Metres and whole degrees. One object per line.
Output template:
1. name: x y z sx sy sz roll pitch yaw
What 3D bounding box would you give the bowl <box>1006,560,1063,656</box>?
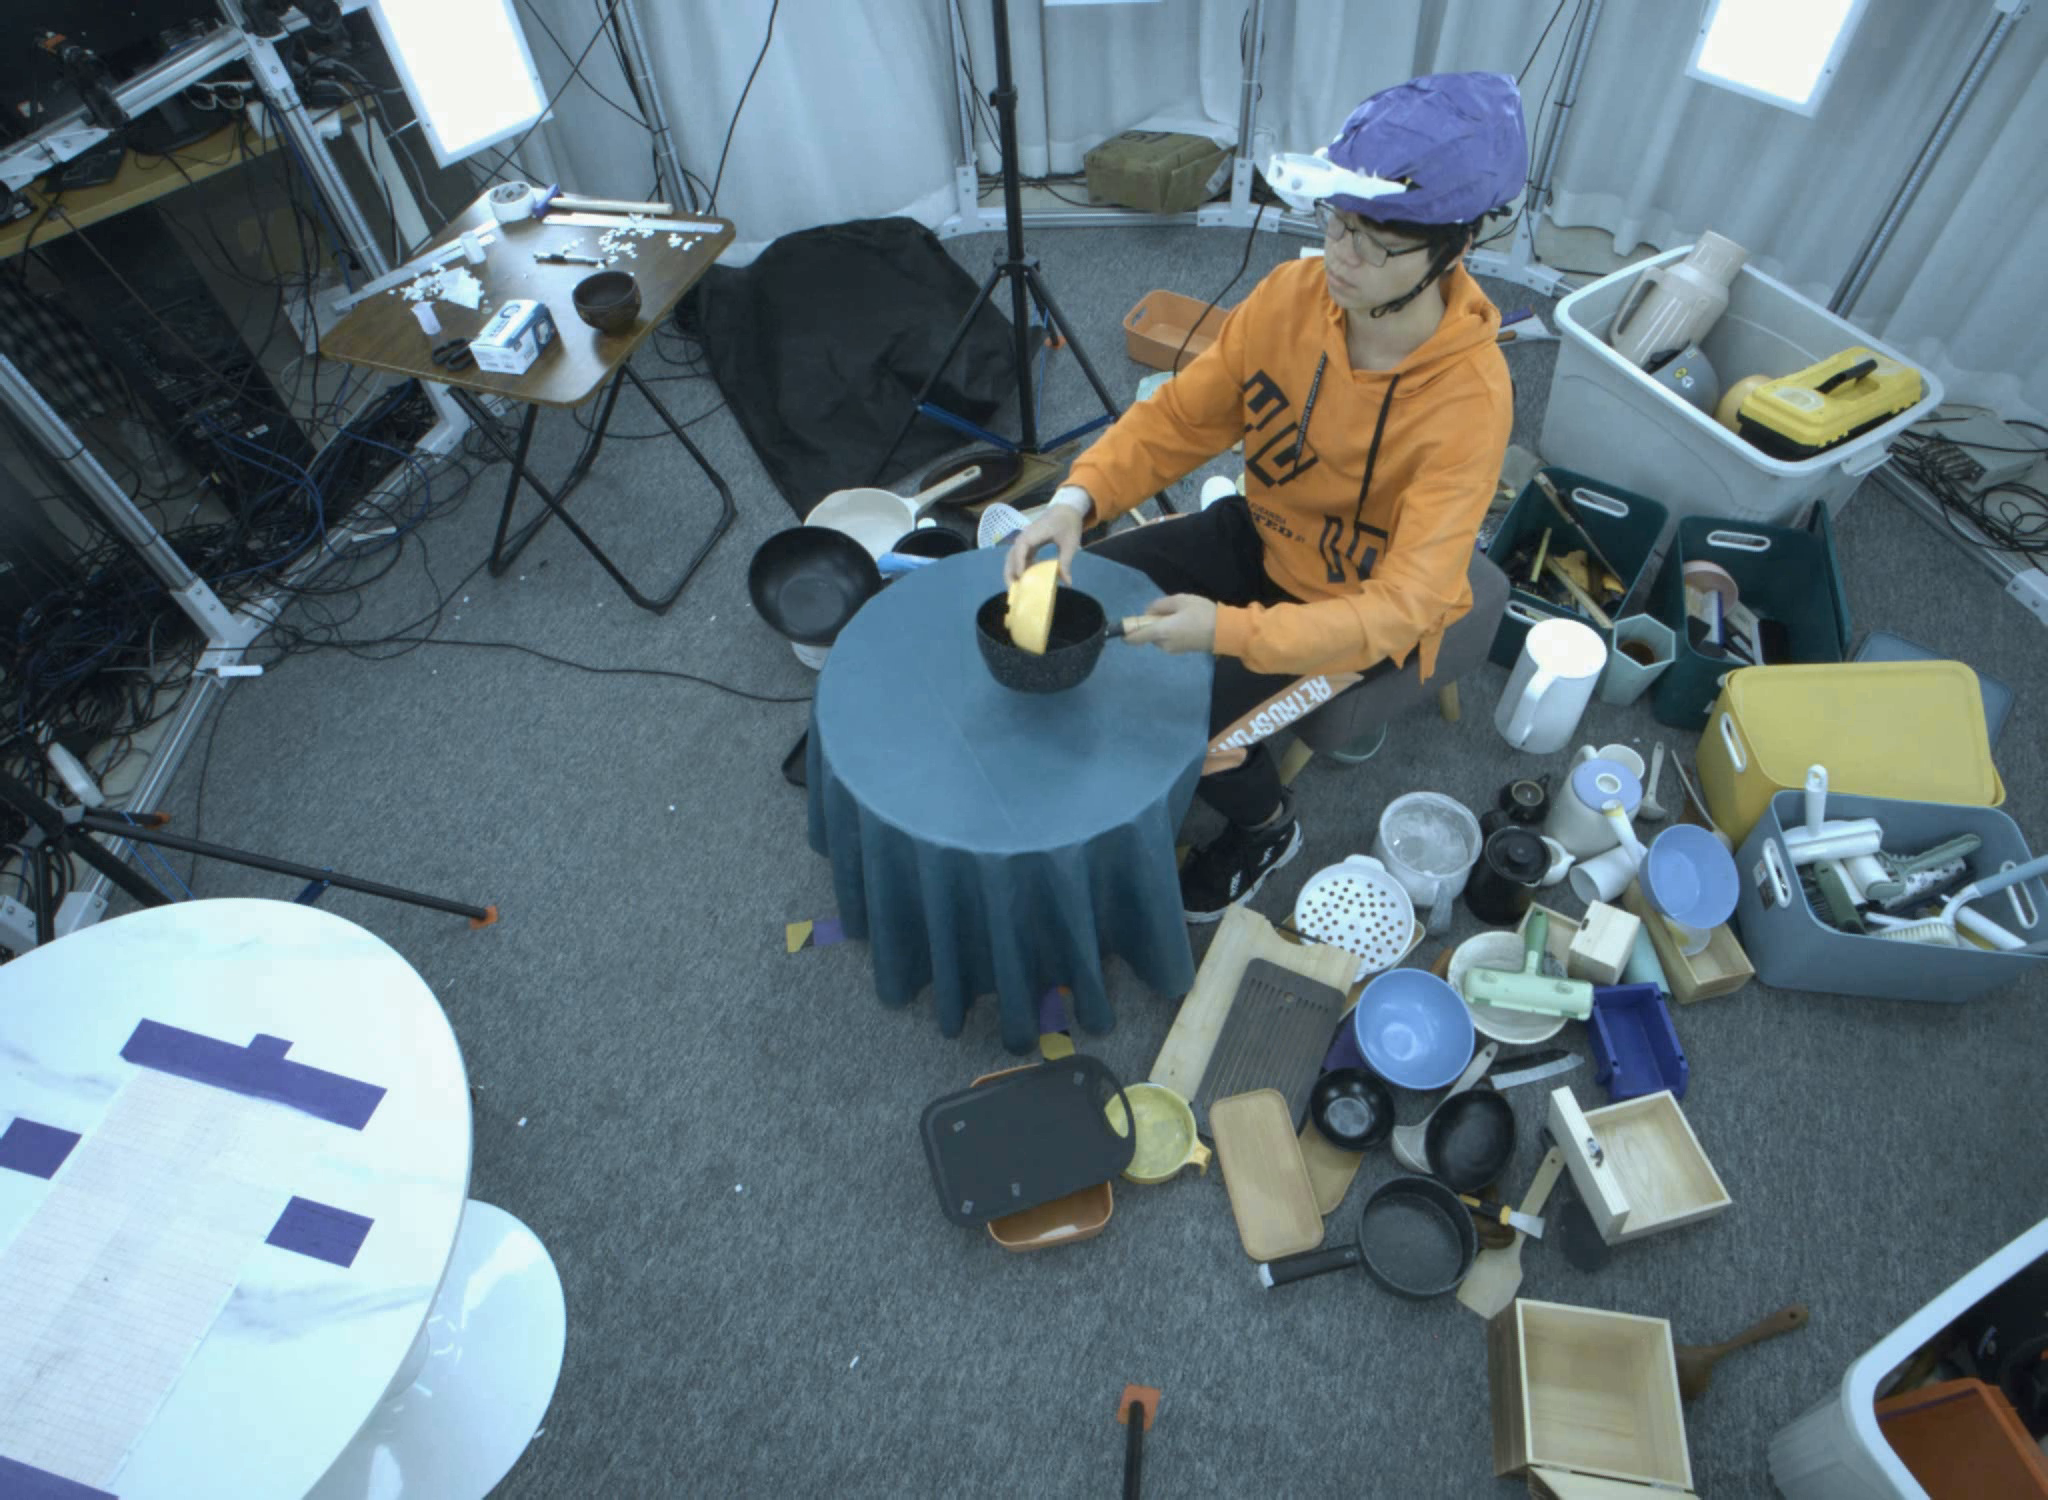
1. bowl: 0.011 -0.195 1.697 0.060 0.147 0.144 9 56 7

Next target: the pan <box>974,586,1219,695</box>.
1. pan: 0.102 -0.163 1.750 0.343 0.109 0.205 -1 37 1
